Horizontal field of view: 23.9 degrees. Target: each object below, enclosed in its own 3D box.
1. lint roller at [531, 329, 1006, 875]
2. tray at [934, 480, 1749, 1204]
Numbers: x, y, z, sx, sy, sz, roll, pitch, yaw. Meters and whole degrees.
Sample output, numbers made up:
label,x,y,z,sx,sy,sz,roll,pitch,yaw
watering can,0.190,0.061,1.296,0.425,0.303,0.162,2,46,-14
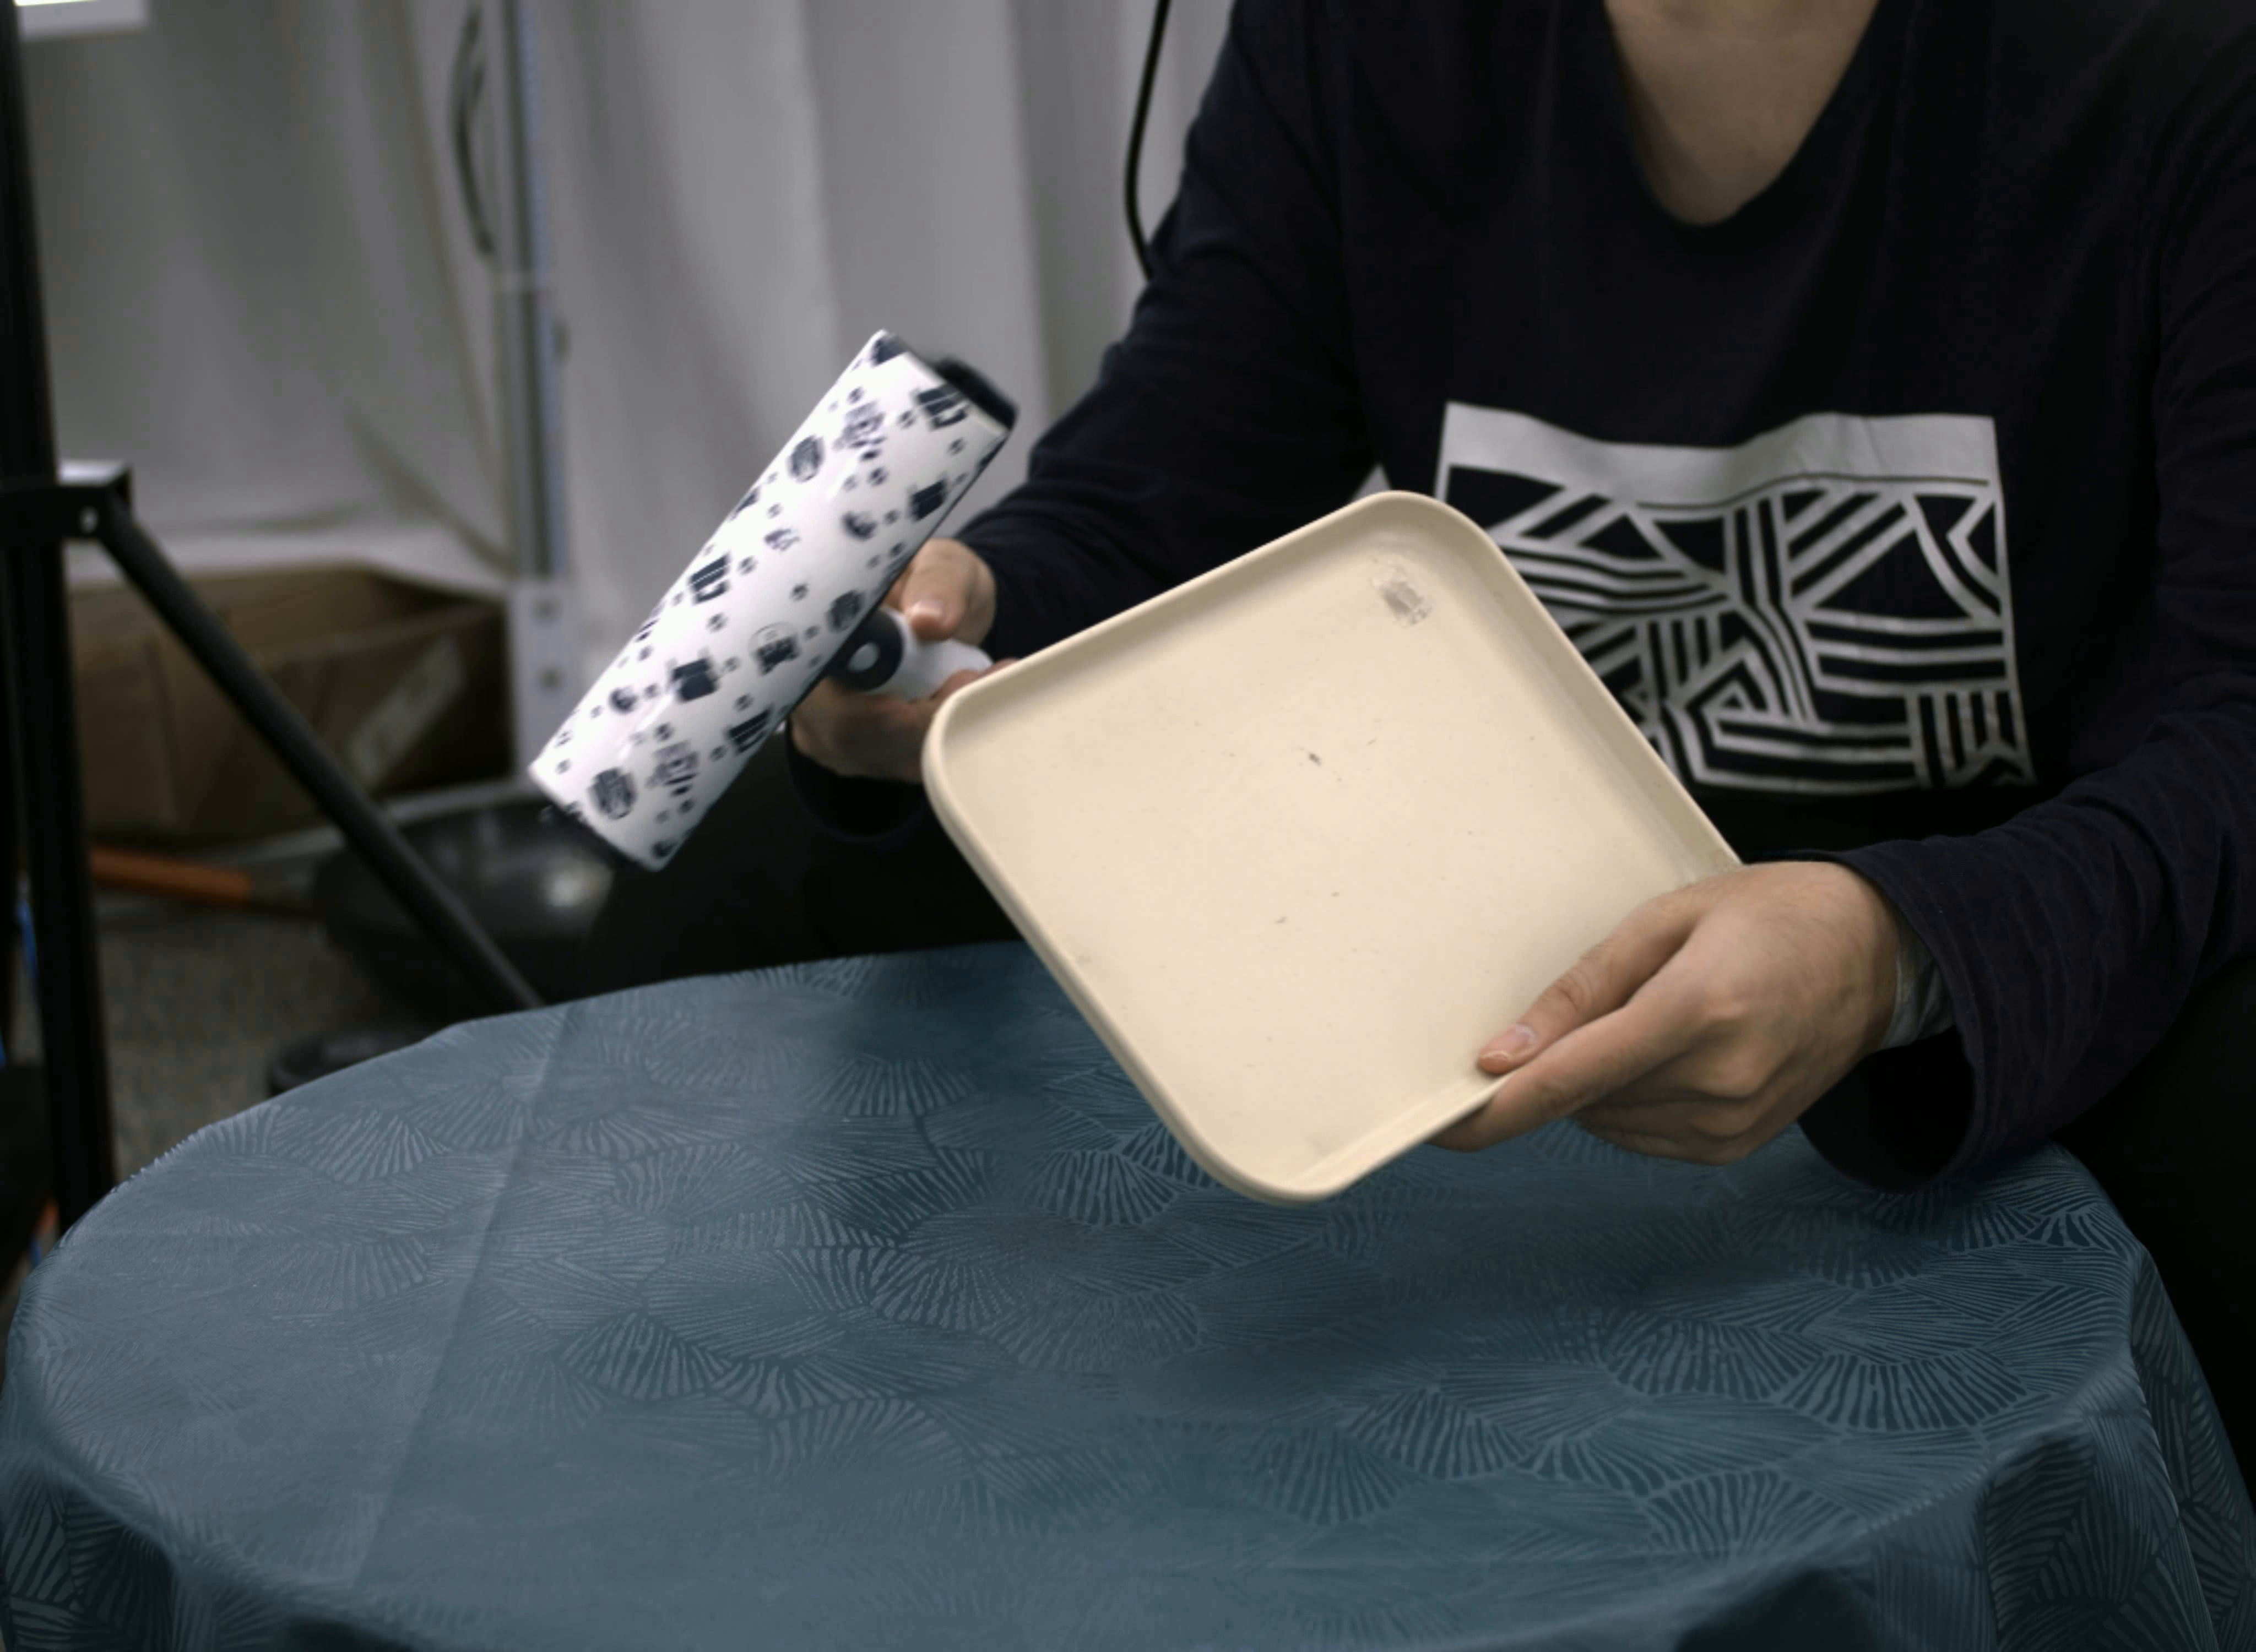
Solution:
label,x,y,z,sx,sy,sz,roll,pitch,yaw
lint roller,-0.082,-0.051,1.607,0.051,0.176,0.244,39,3,14
tray,0.061,0.002,1.464,0.235,0.173,0.017,-26,-16,-43
